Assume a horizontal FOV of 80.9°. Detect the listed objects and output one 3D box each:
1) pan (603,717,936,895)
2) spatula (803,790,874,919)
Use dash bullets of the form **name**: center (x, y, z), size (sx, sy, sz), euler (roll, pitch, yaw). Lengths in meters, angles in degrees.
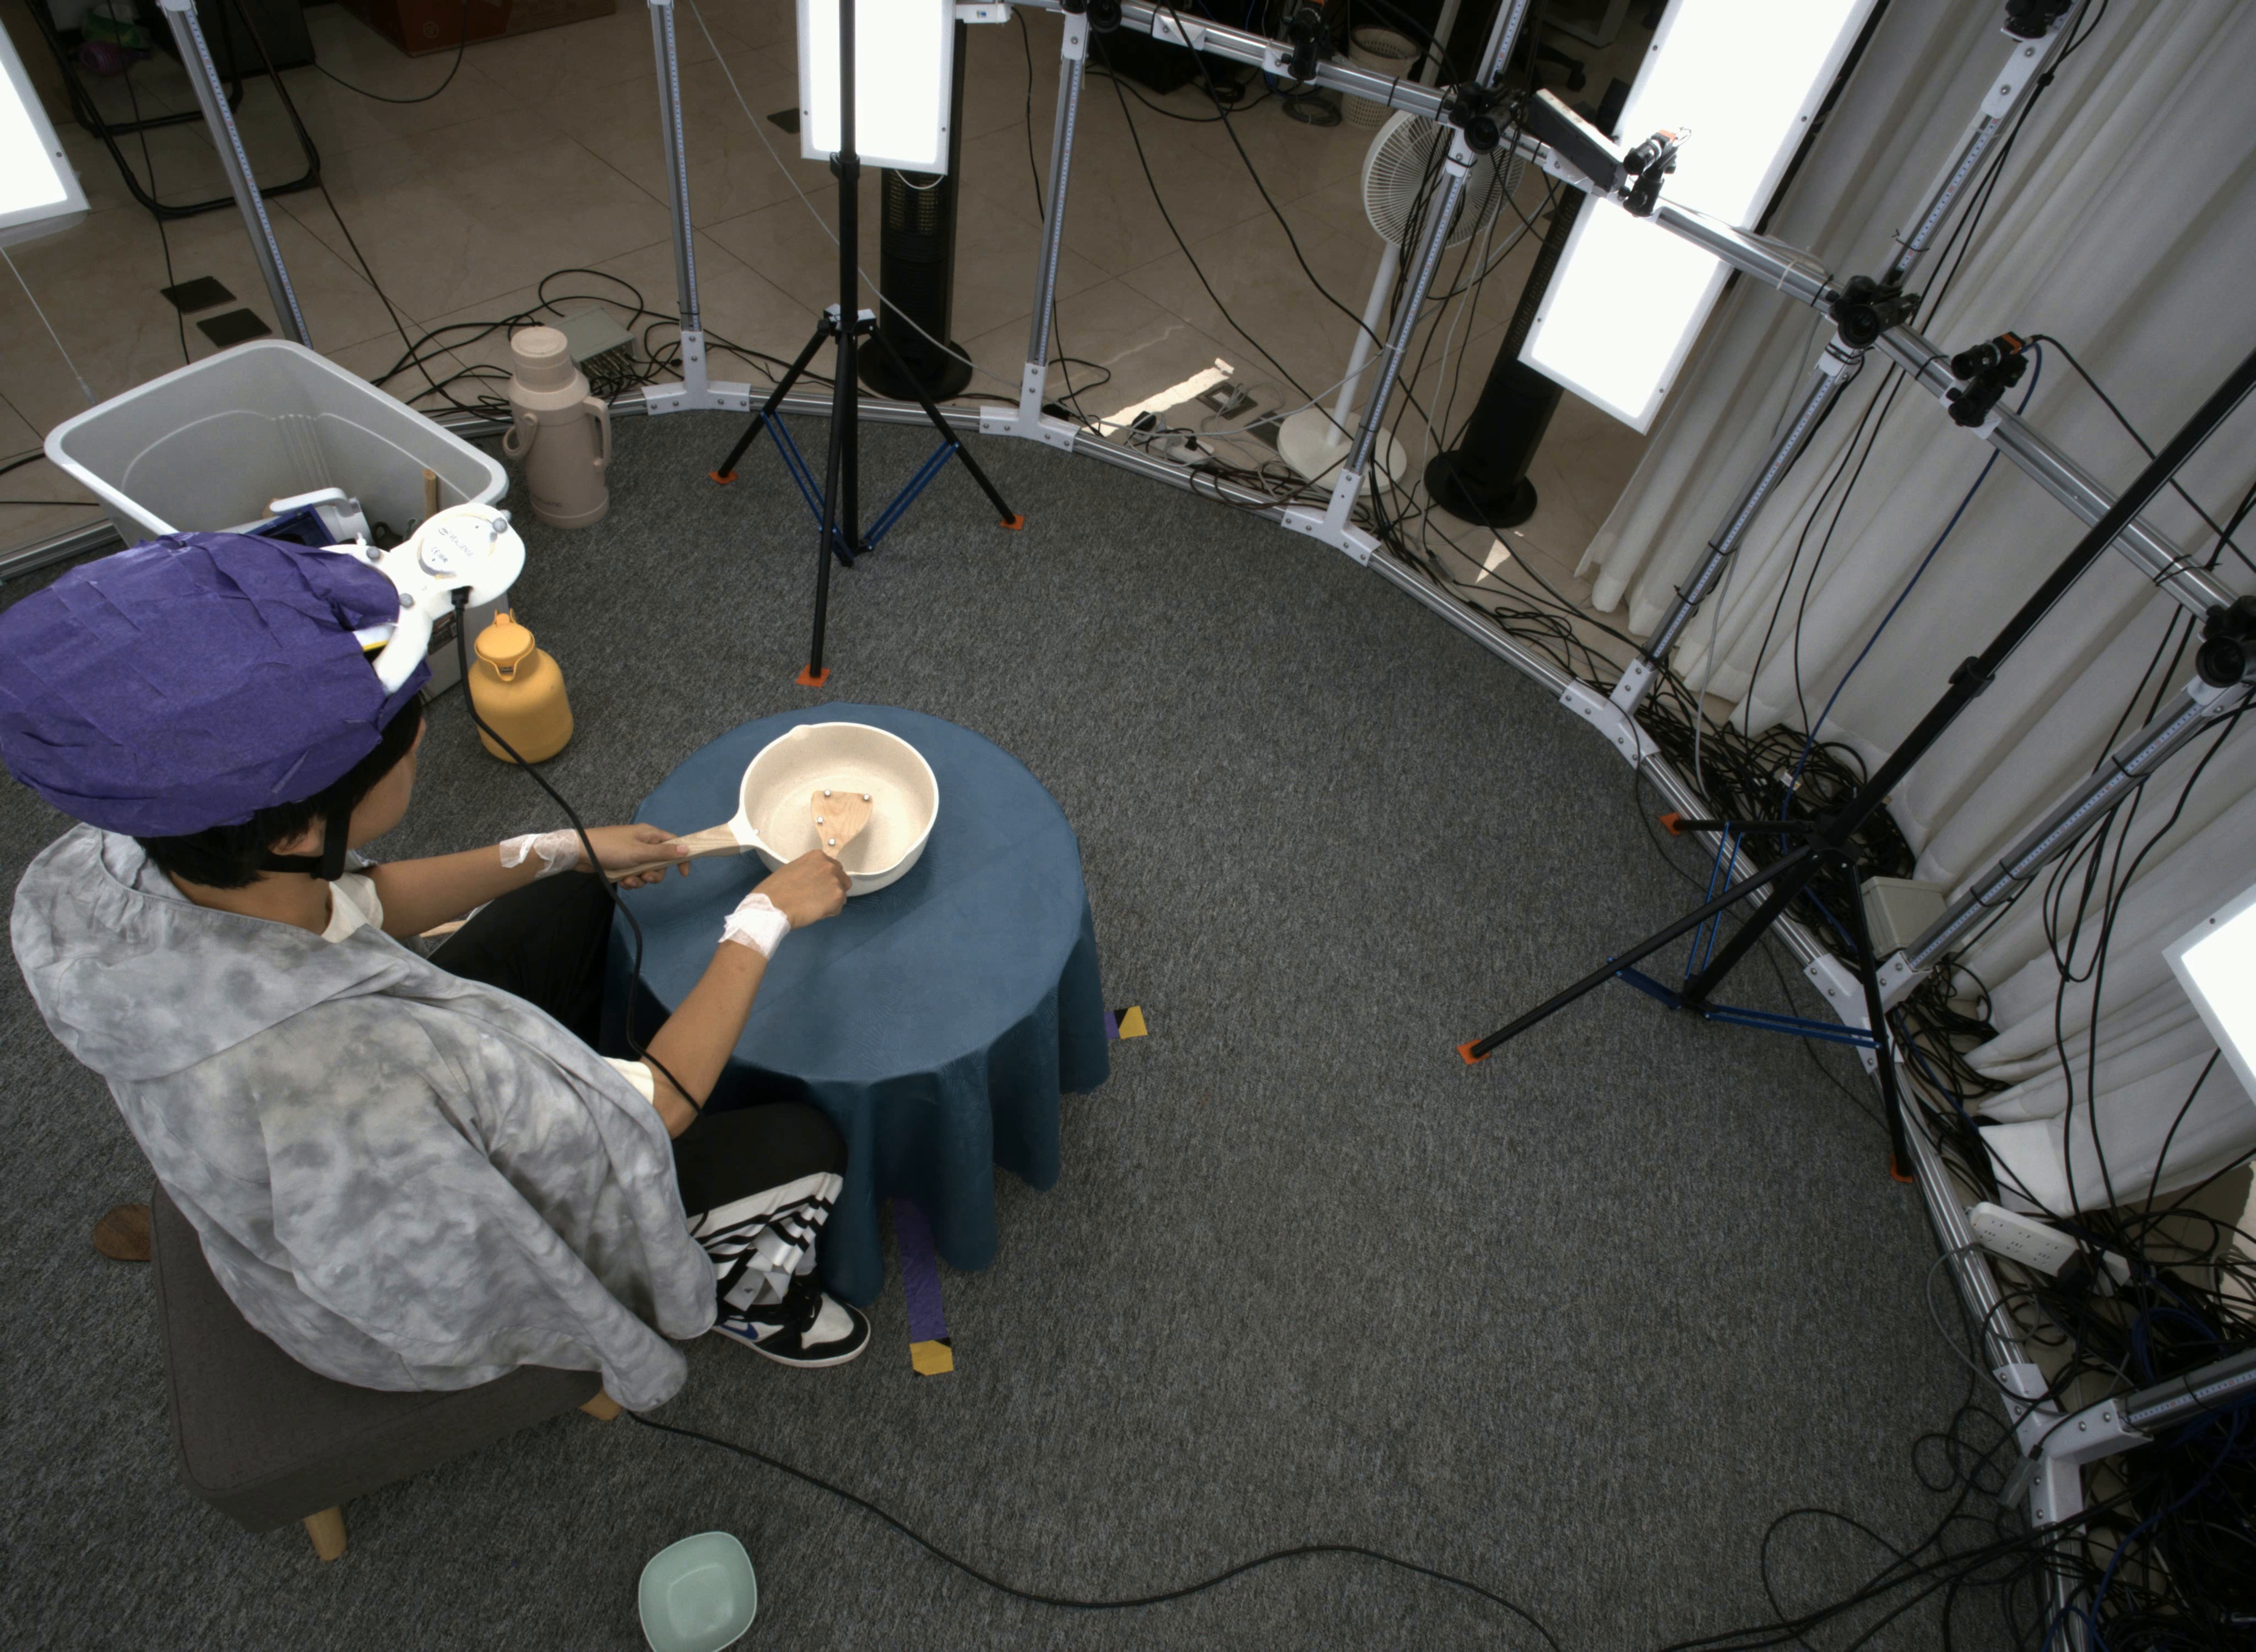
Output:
- **pan**: center (-0.453, 0.007, 1.649), size (0.437, 0.104, 0.257), euler (-23, 63, -28)
- **spatula**: center (-0.361, 0.026, 1.571), size (0.080, 0.017, 0.320), euler (12, 24, -11)
